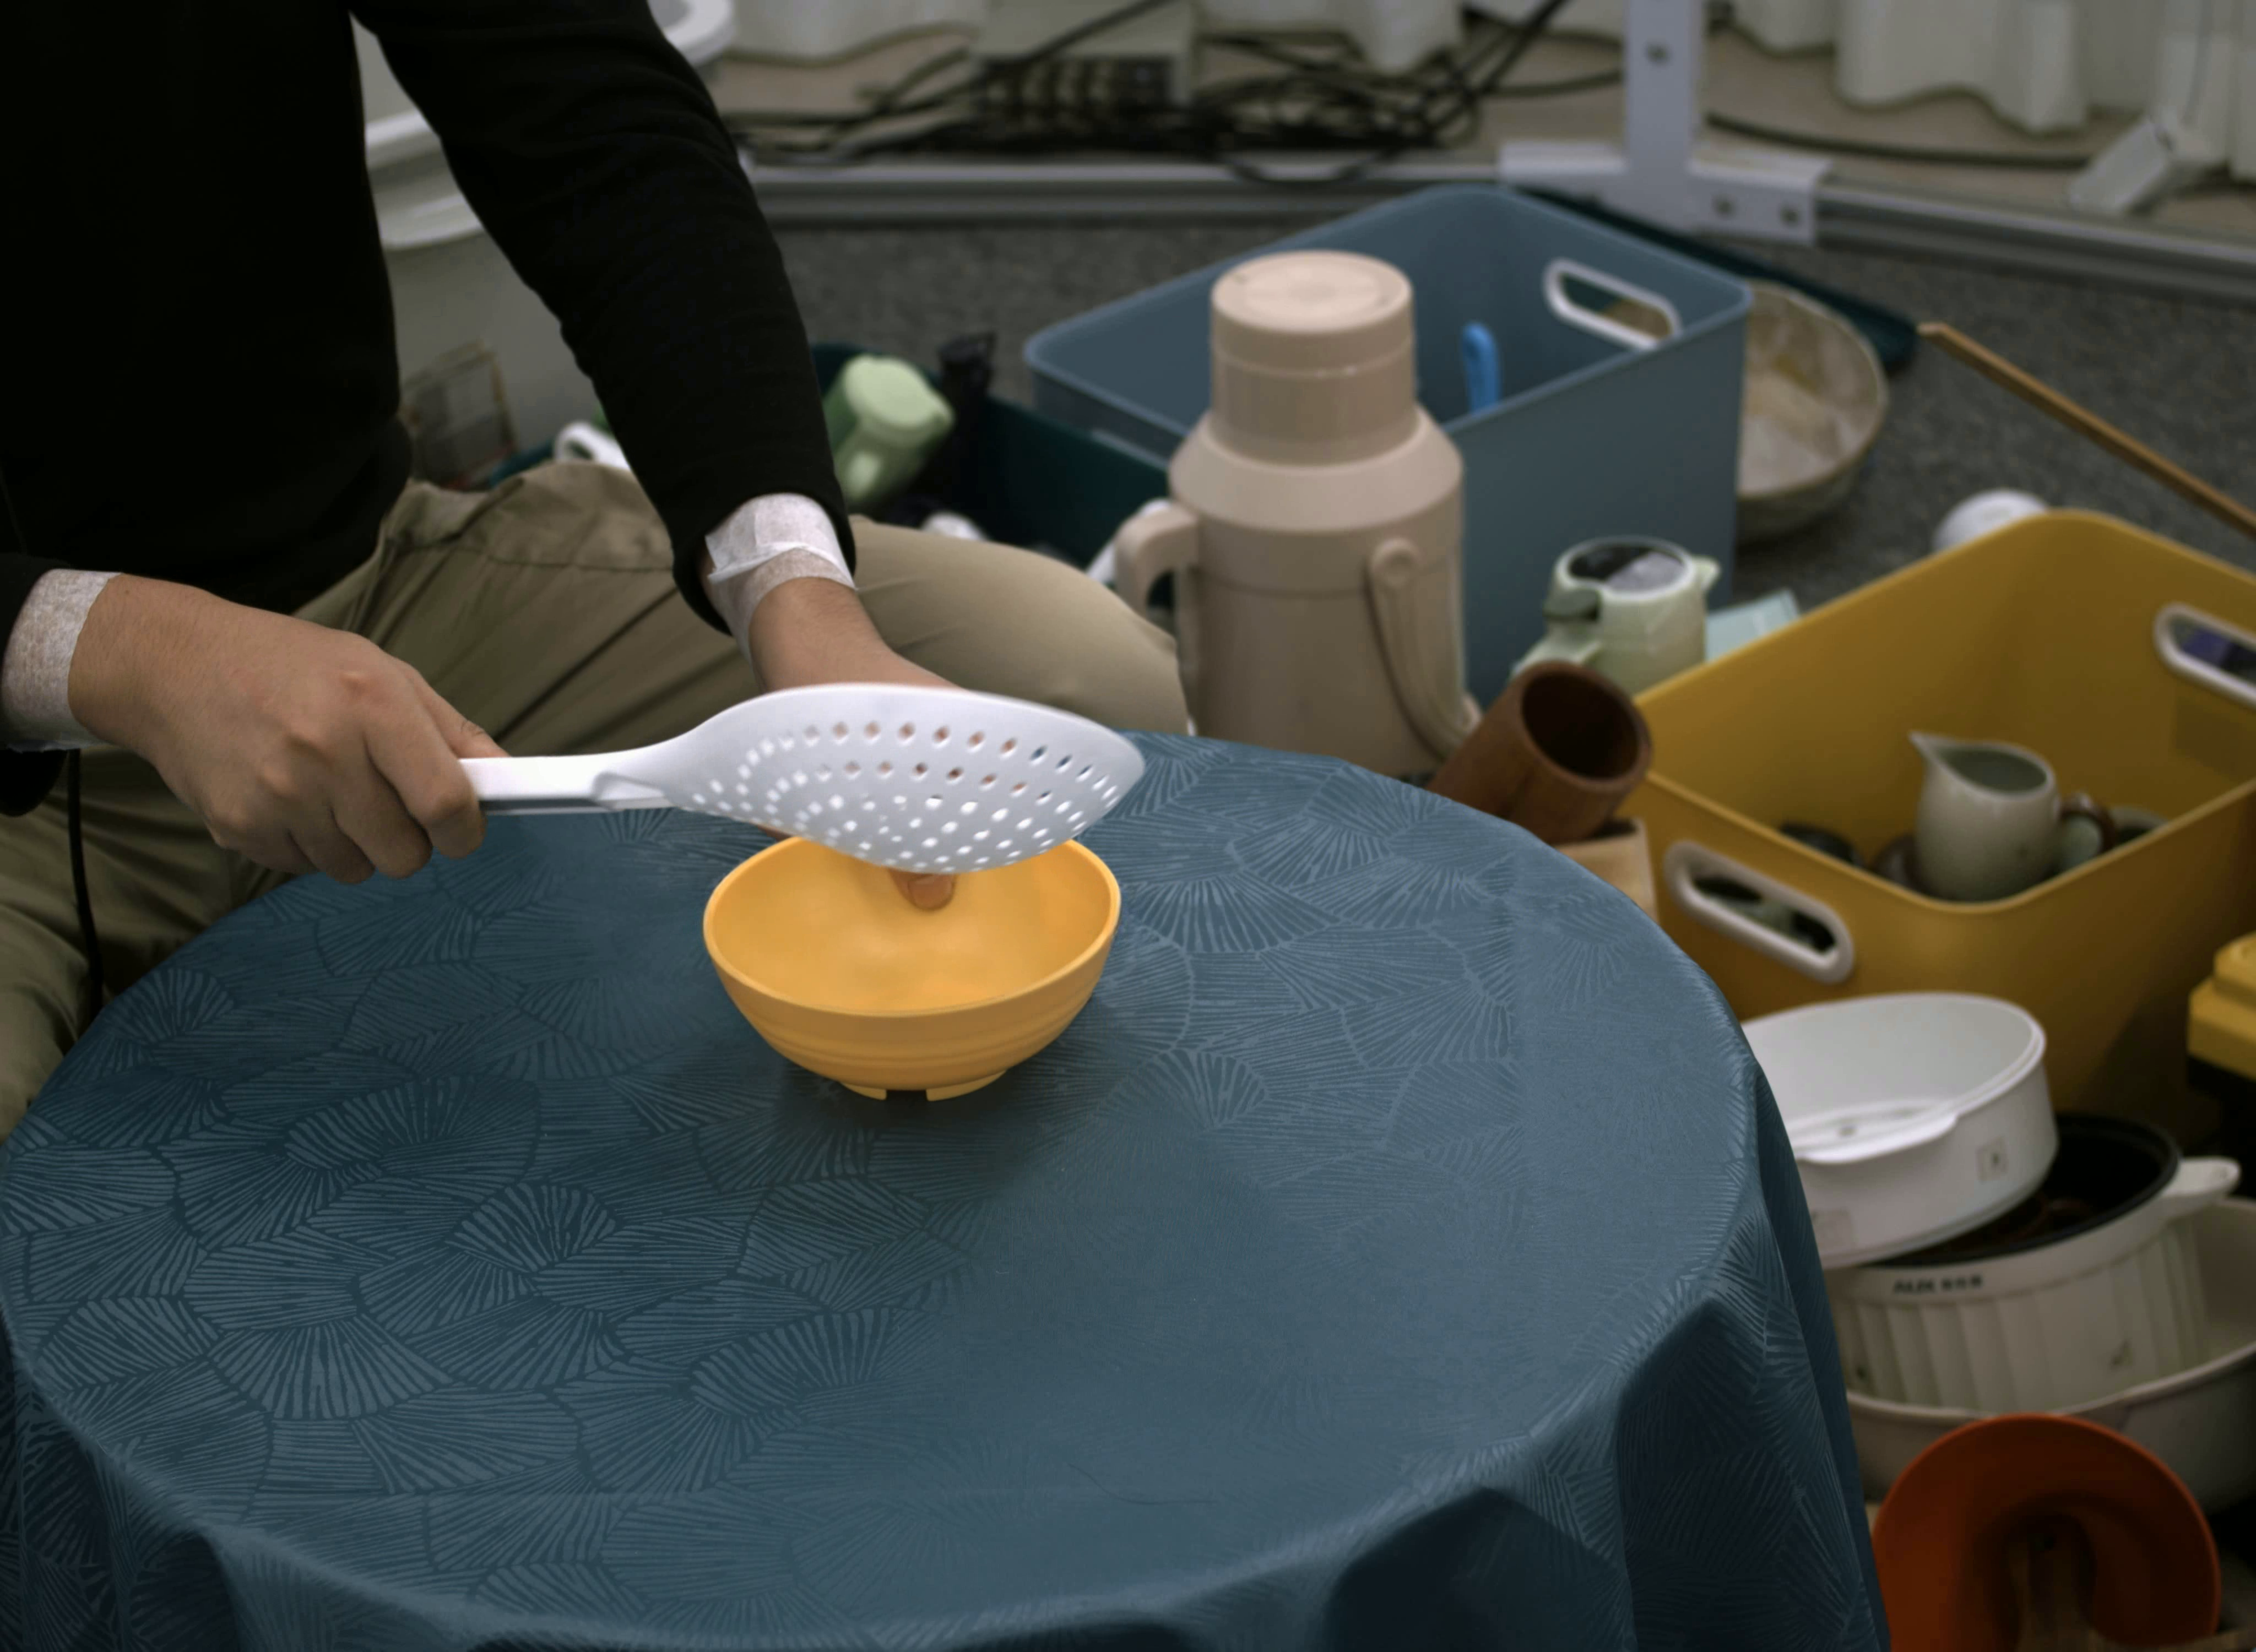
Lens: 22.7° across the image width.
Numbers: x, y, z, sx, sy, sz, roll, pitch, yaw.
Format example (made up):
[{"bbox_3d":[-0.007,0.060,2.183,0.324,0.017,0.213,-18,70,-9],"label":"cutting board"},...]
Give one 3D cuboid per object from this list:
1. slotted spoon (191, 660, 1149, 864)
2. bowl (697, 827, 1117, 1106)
[{"bbox_3d":[-0.158,-0.018,1.856,0.347,0.046,0.135,2,-18,26],"label":"slotted spoon"},{"bbox_3d":[-0.075,0.055,1.937,0.144,0.059,0.147,0,27,0],"label":"bowl"}]
